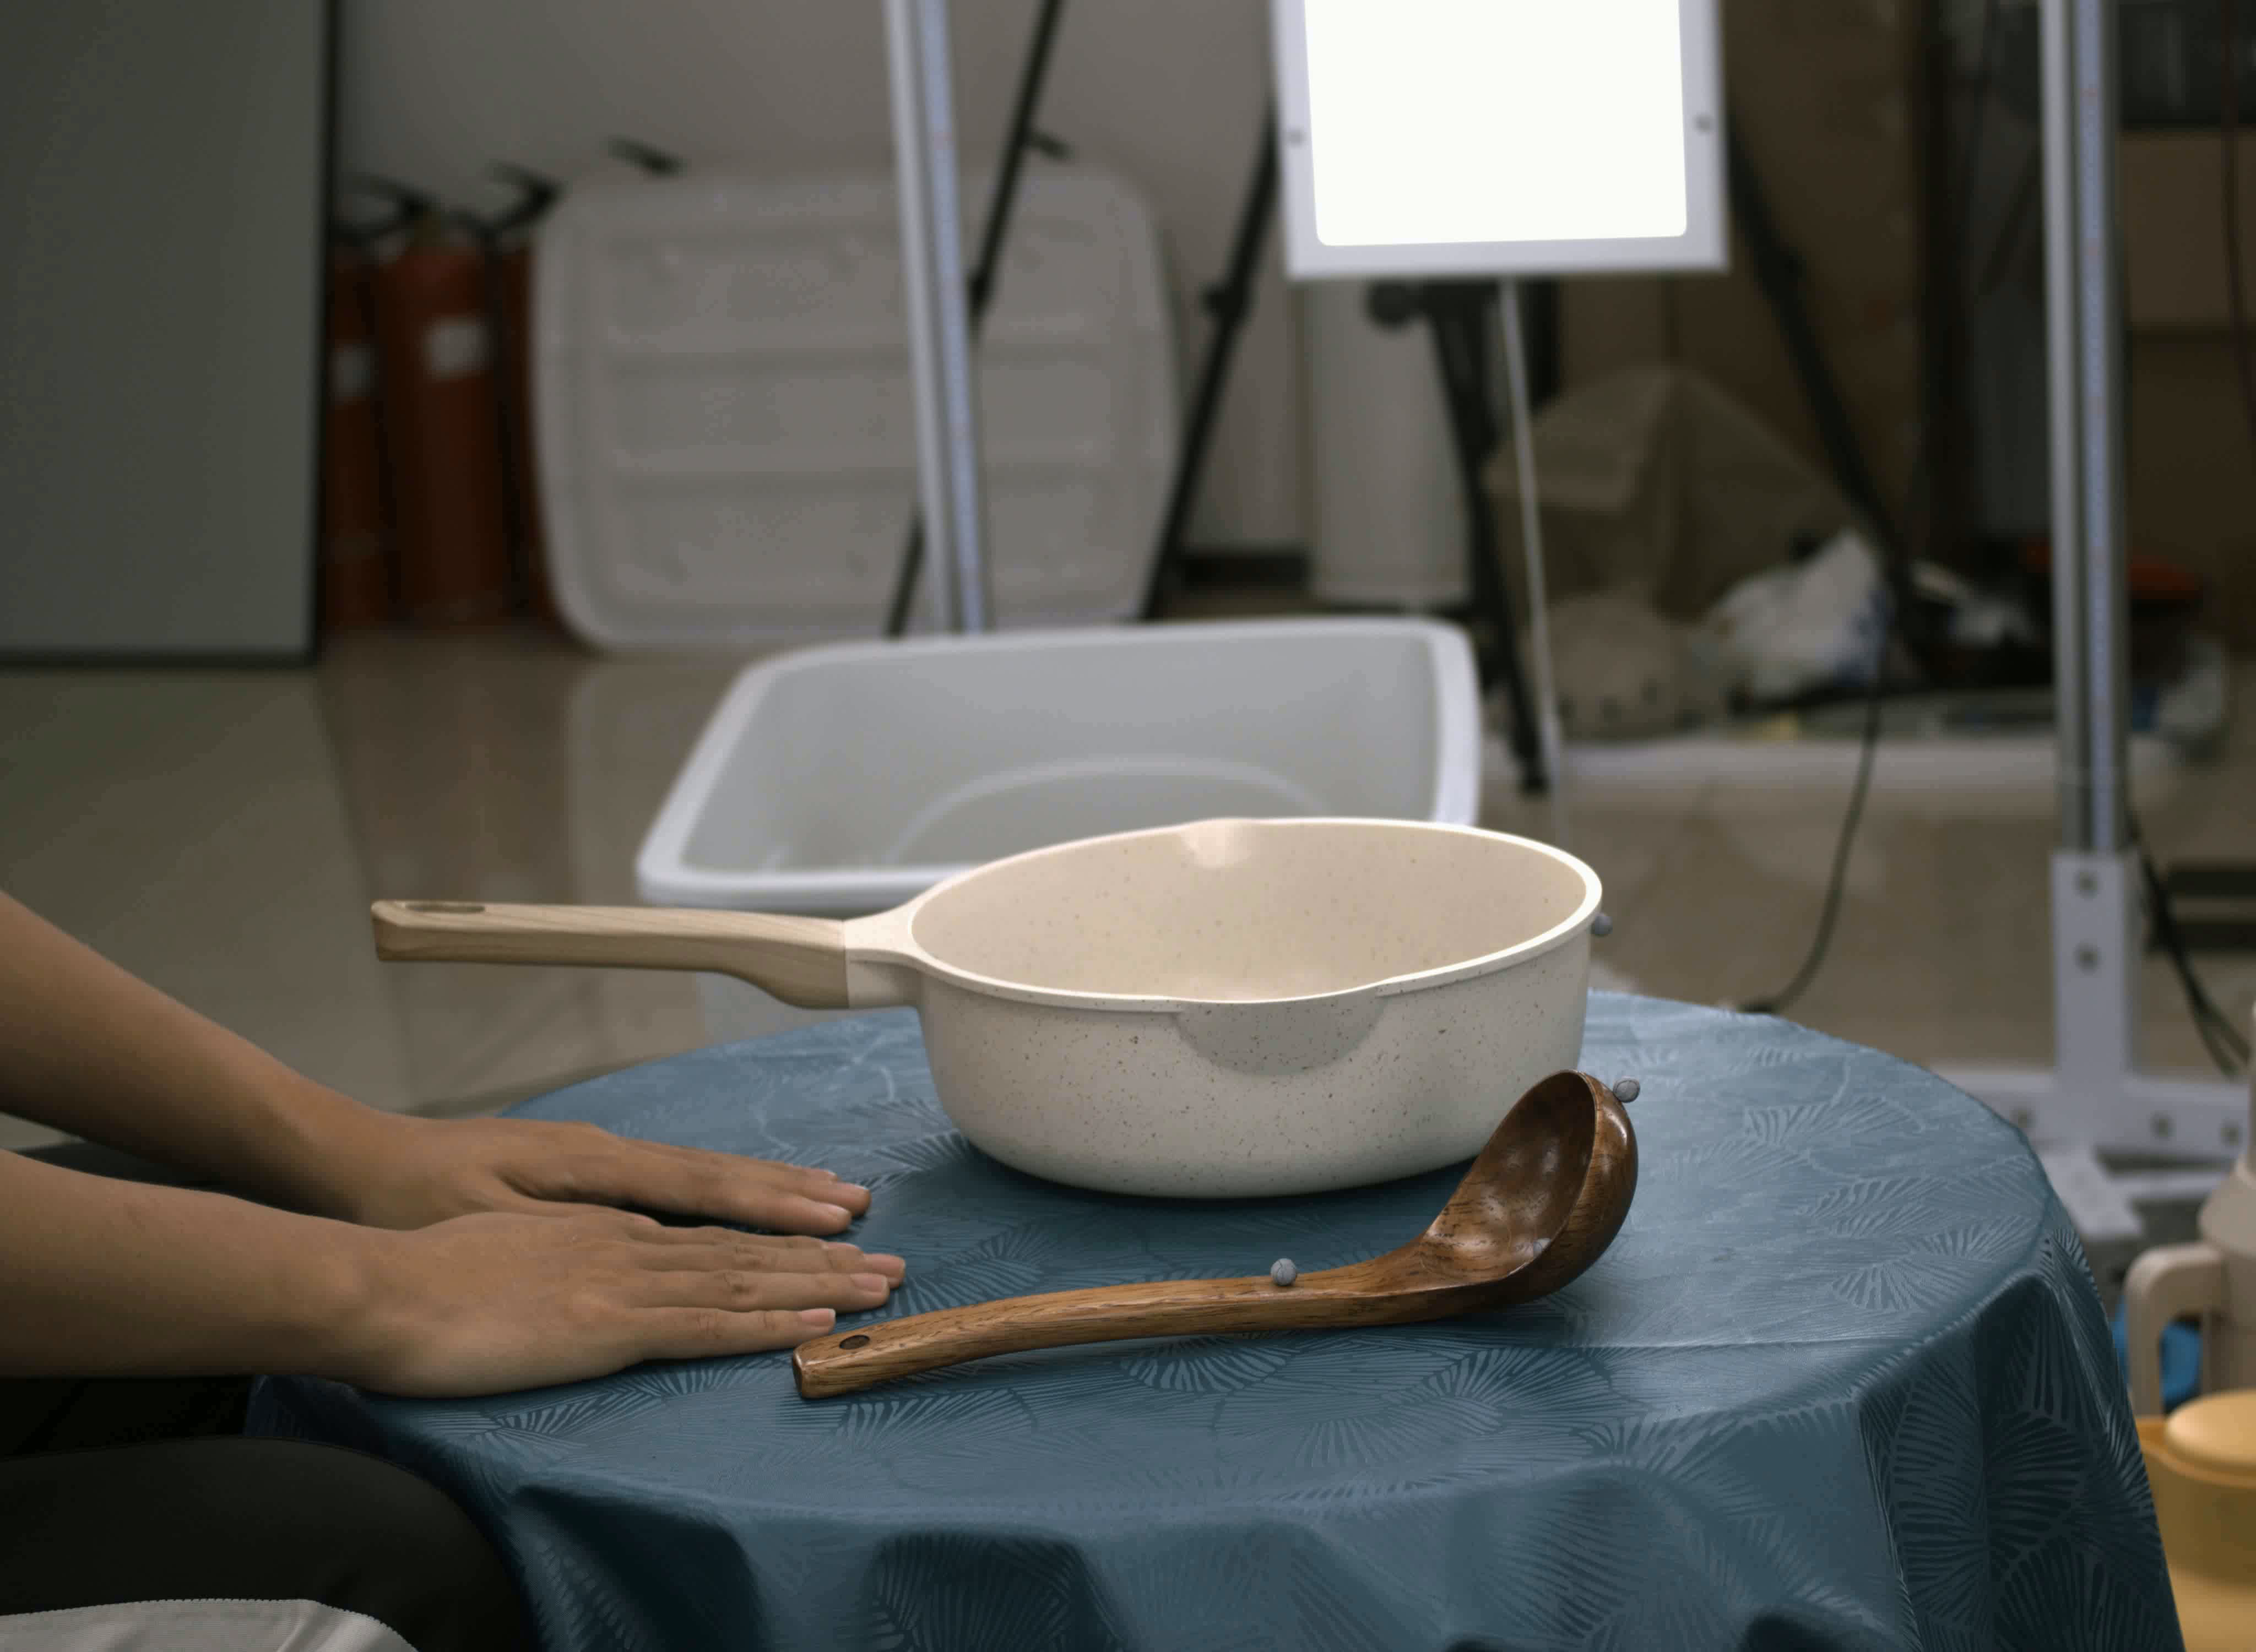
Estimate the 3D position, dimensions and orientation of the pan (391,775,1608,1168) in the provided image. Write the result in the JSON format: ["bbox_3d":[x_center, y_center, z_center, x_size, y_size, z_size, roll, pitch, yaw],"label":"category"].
[{"bbox_3d":[-0.042,0.055,1.975,0.433,0.102,0.263,-6,15,-1],"label":"pan"}]

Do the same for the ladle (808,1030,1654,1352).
[{"bbox_3d":[0.033,0.115,1.739,0.272,0.077,0.082,-6,16,-5],"label":"ladle"}]
